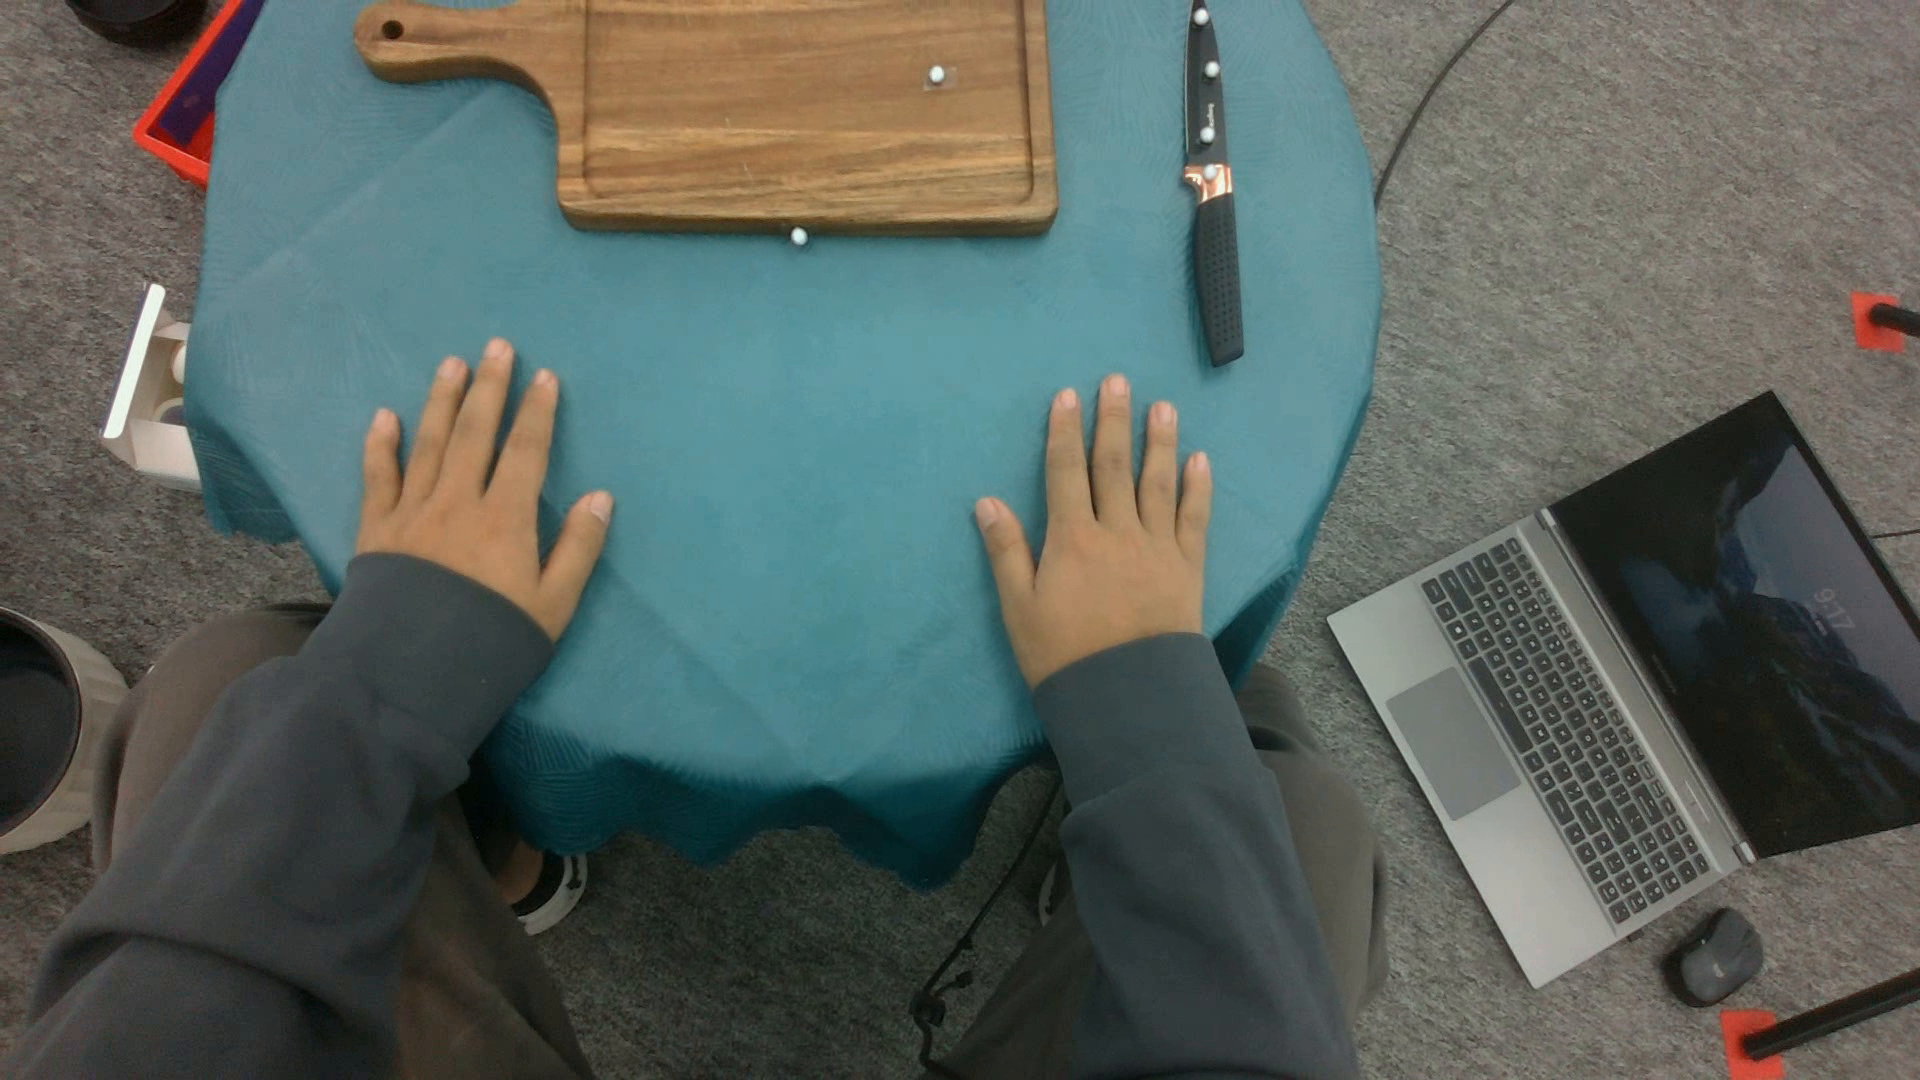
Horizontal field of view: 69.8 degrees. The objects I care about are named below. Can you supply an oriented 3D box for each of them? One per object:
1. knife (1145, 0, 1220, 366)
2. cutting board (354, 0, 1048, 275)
[{"bbox_3d":[0.121,-0.200,0.752,0.026,0.017,0.226,-3,74,-1],"label":"knife"},{"bbox_3d":[-0.137,-0.239,0.733,0.352,0.023,0.201,-4,75,-6],"label":"cutting board"}]
